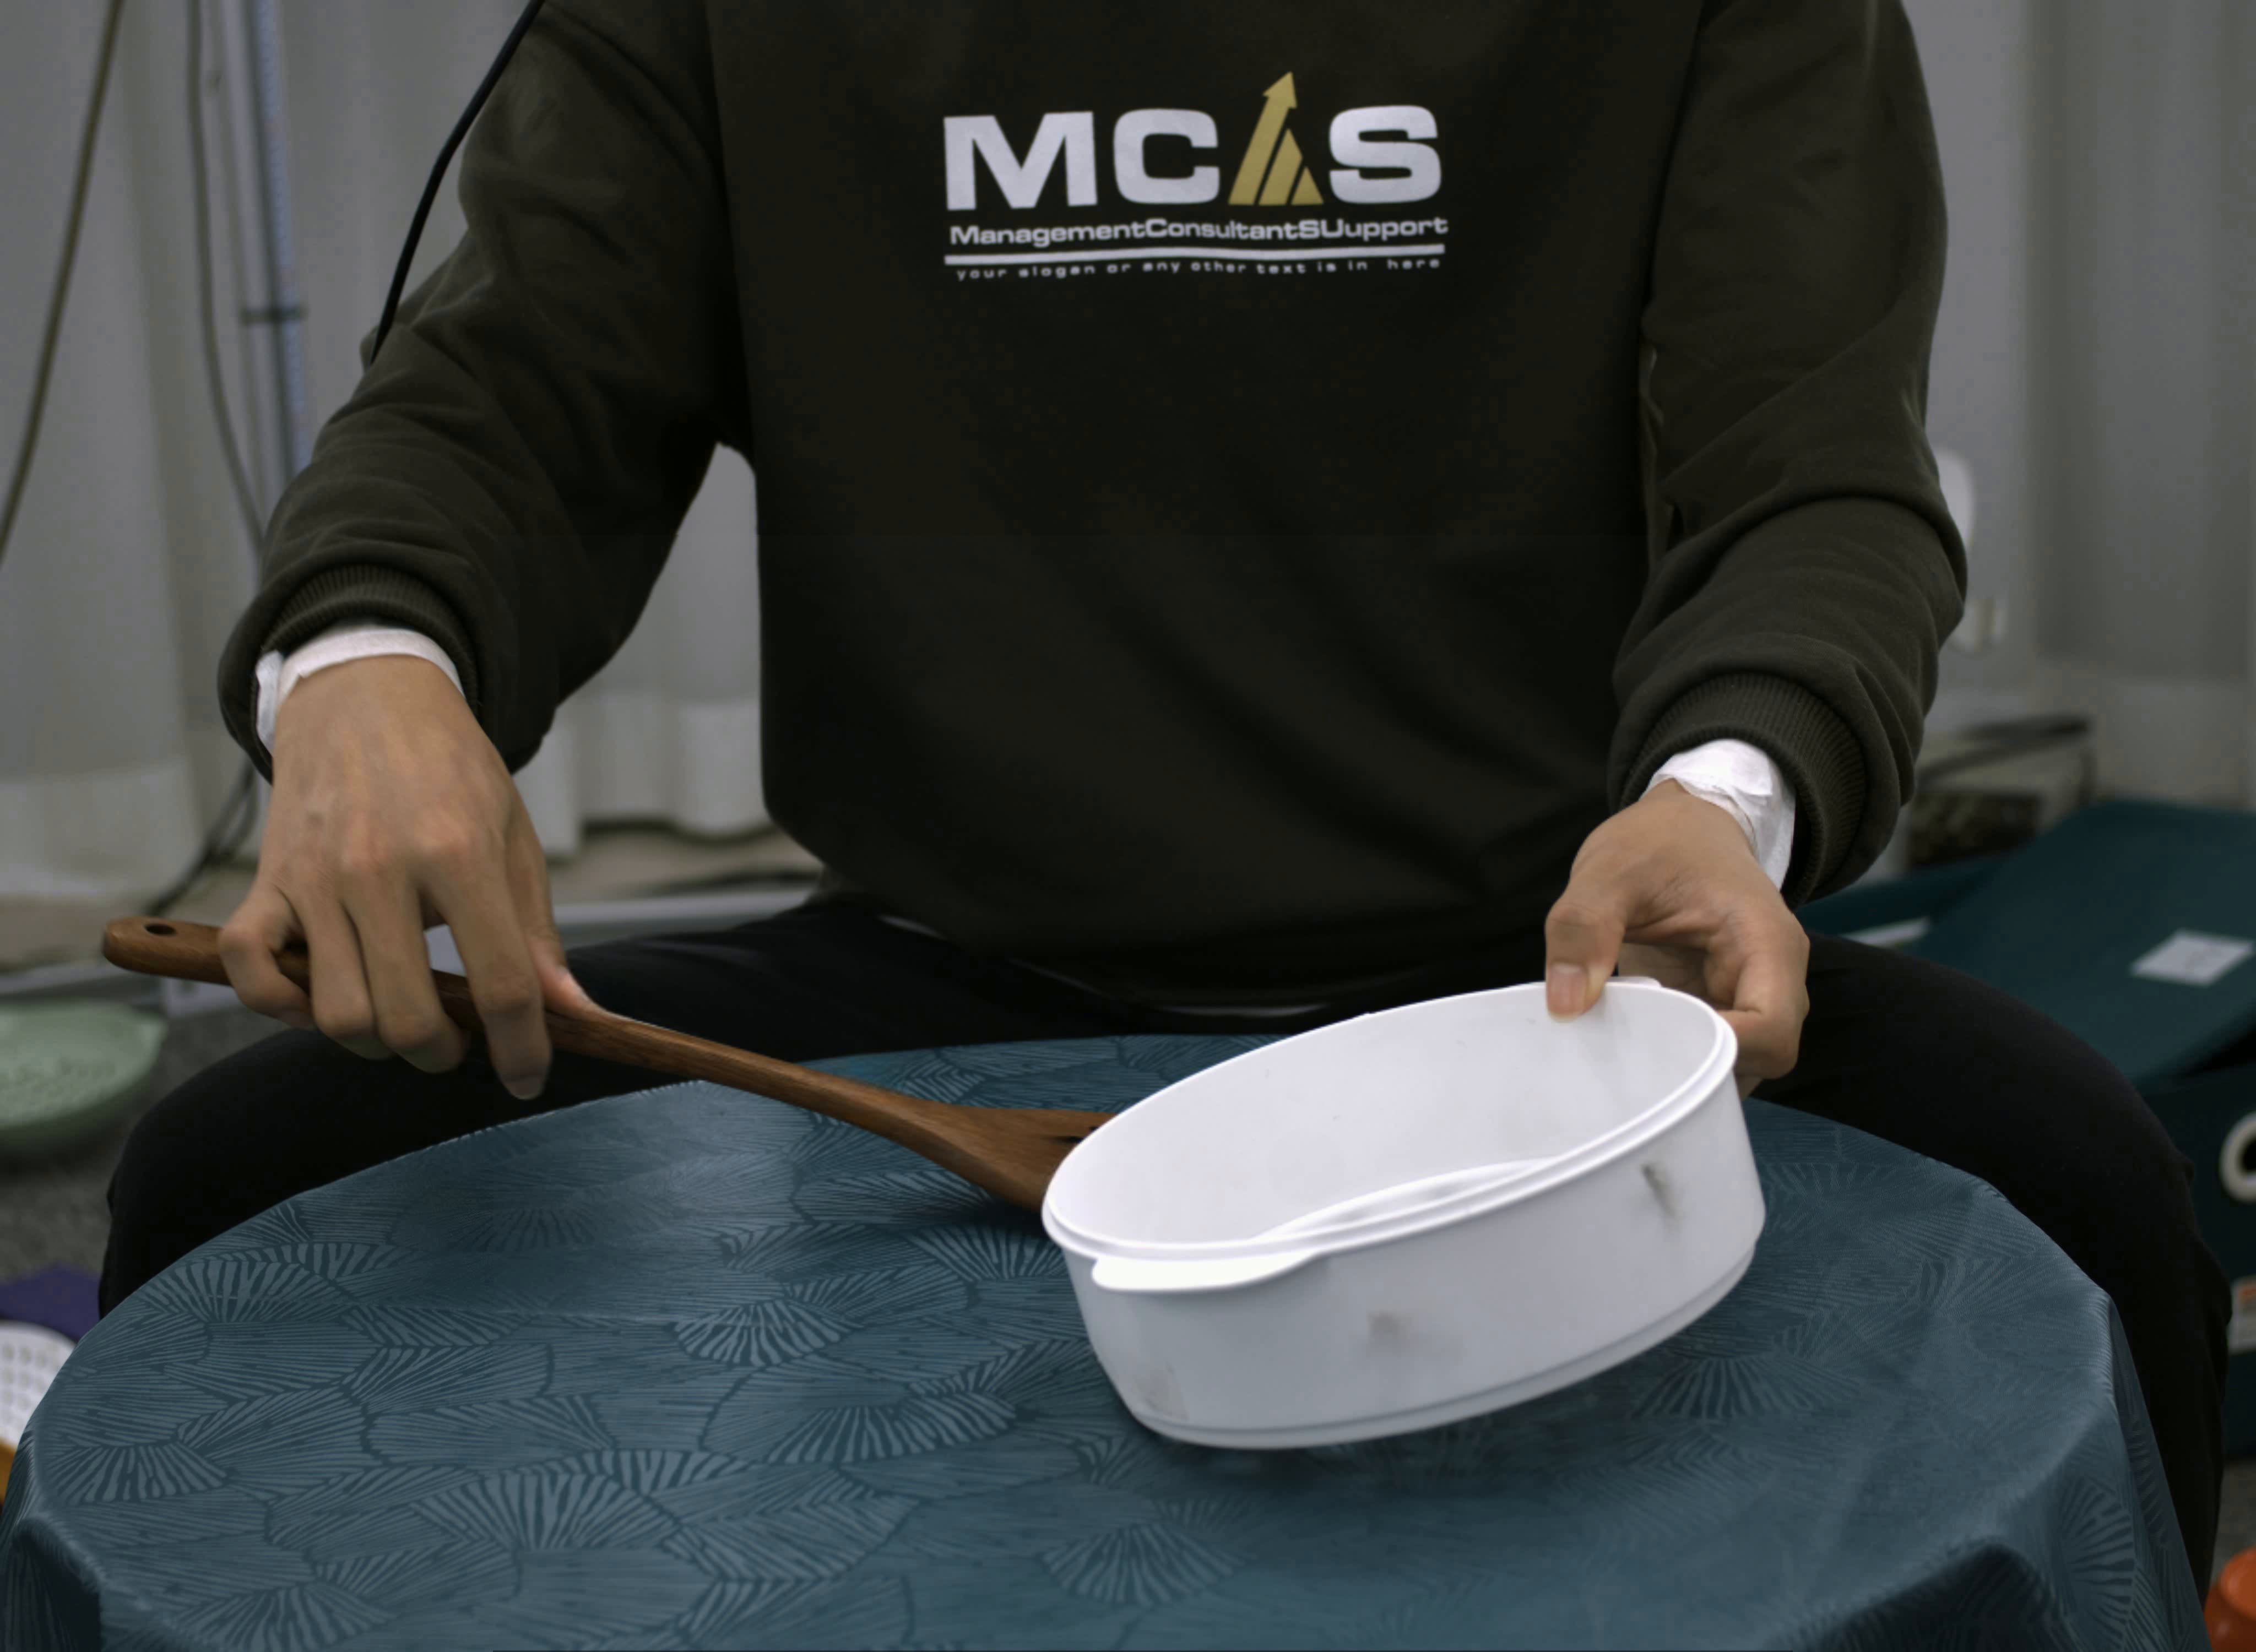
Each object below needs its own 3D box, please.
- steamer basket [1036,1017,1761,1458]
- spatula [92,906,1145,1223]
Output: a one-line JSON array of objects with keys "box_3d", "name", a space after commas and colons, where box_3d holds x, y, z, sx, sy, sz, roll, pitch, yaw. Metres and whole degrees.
[{"box_3d": [0.078, 0.115, 1.530, 0.202, 0.069, 0.231, -3, 14, 37], "name": "steamer basket"}, {"box_3d": [-0.131, 0.076, 1.691, 0.383, 0.023, 0.086, 14, 18, -5], "name": "spatula"}]
